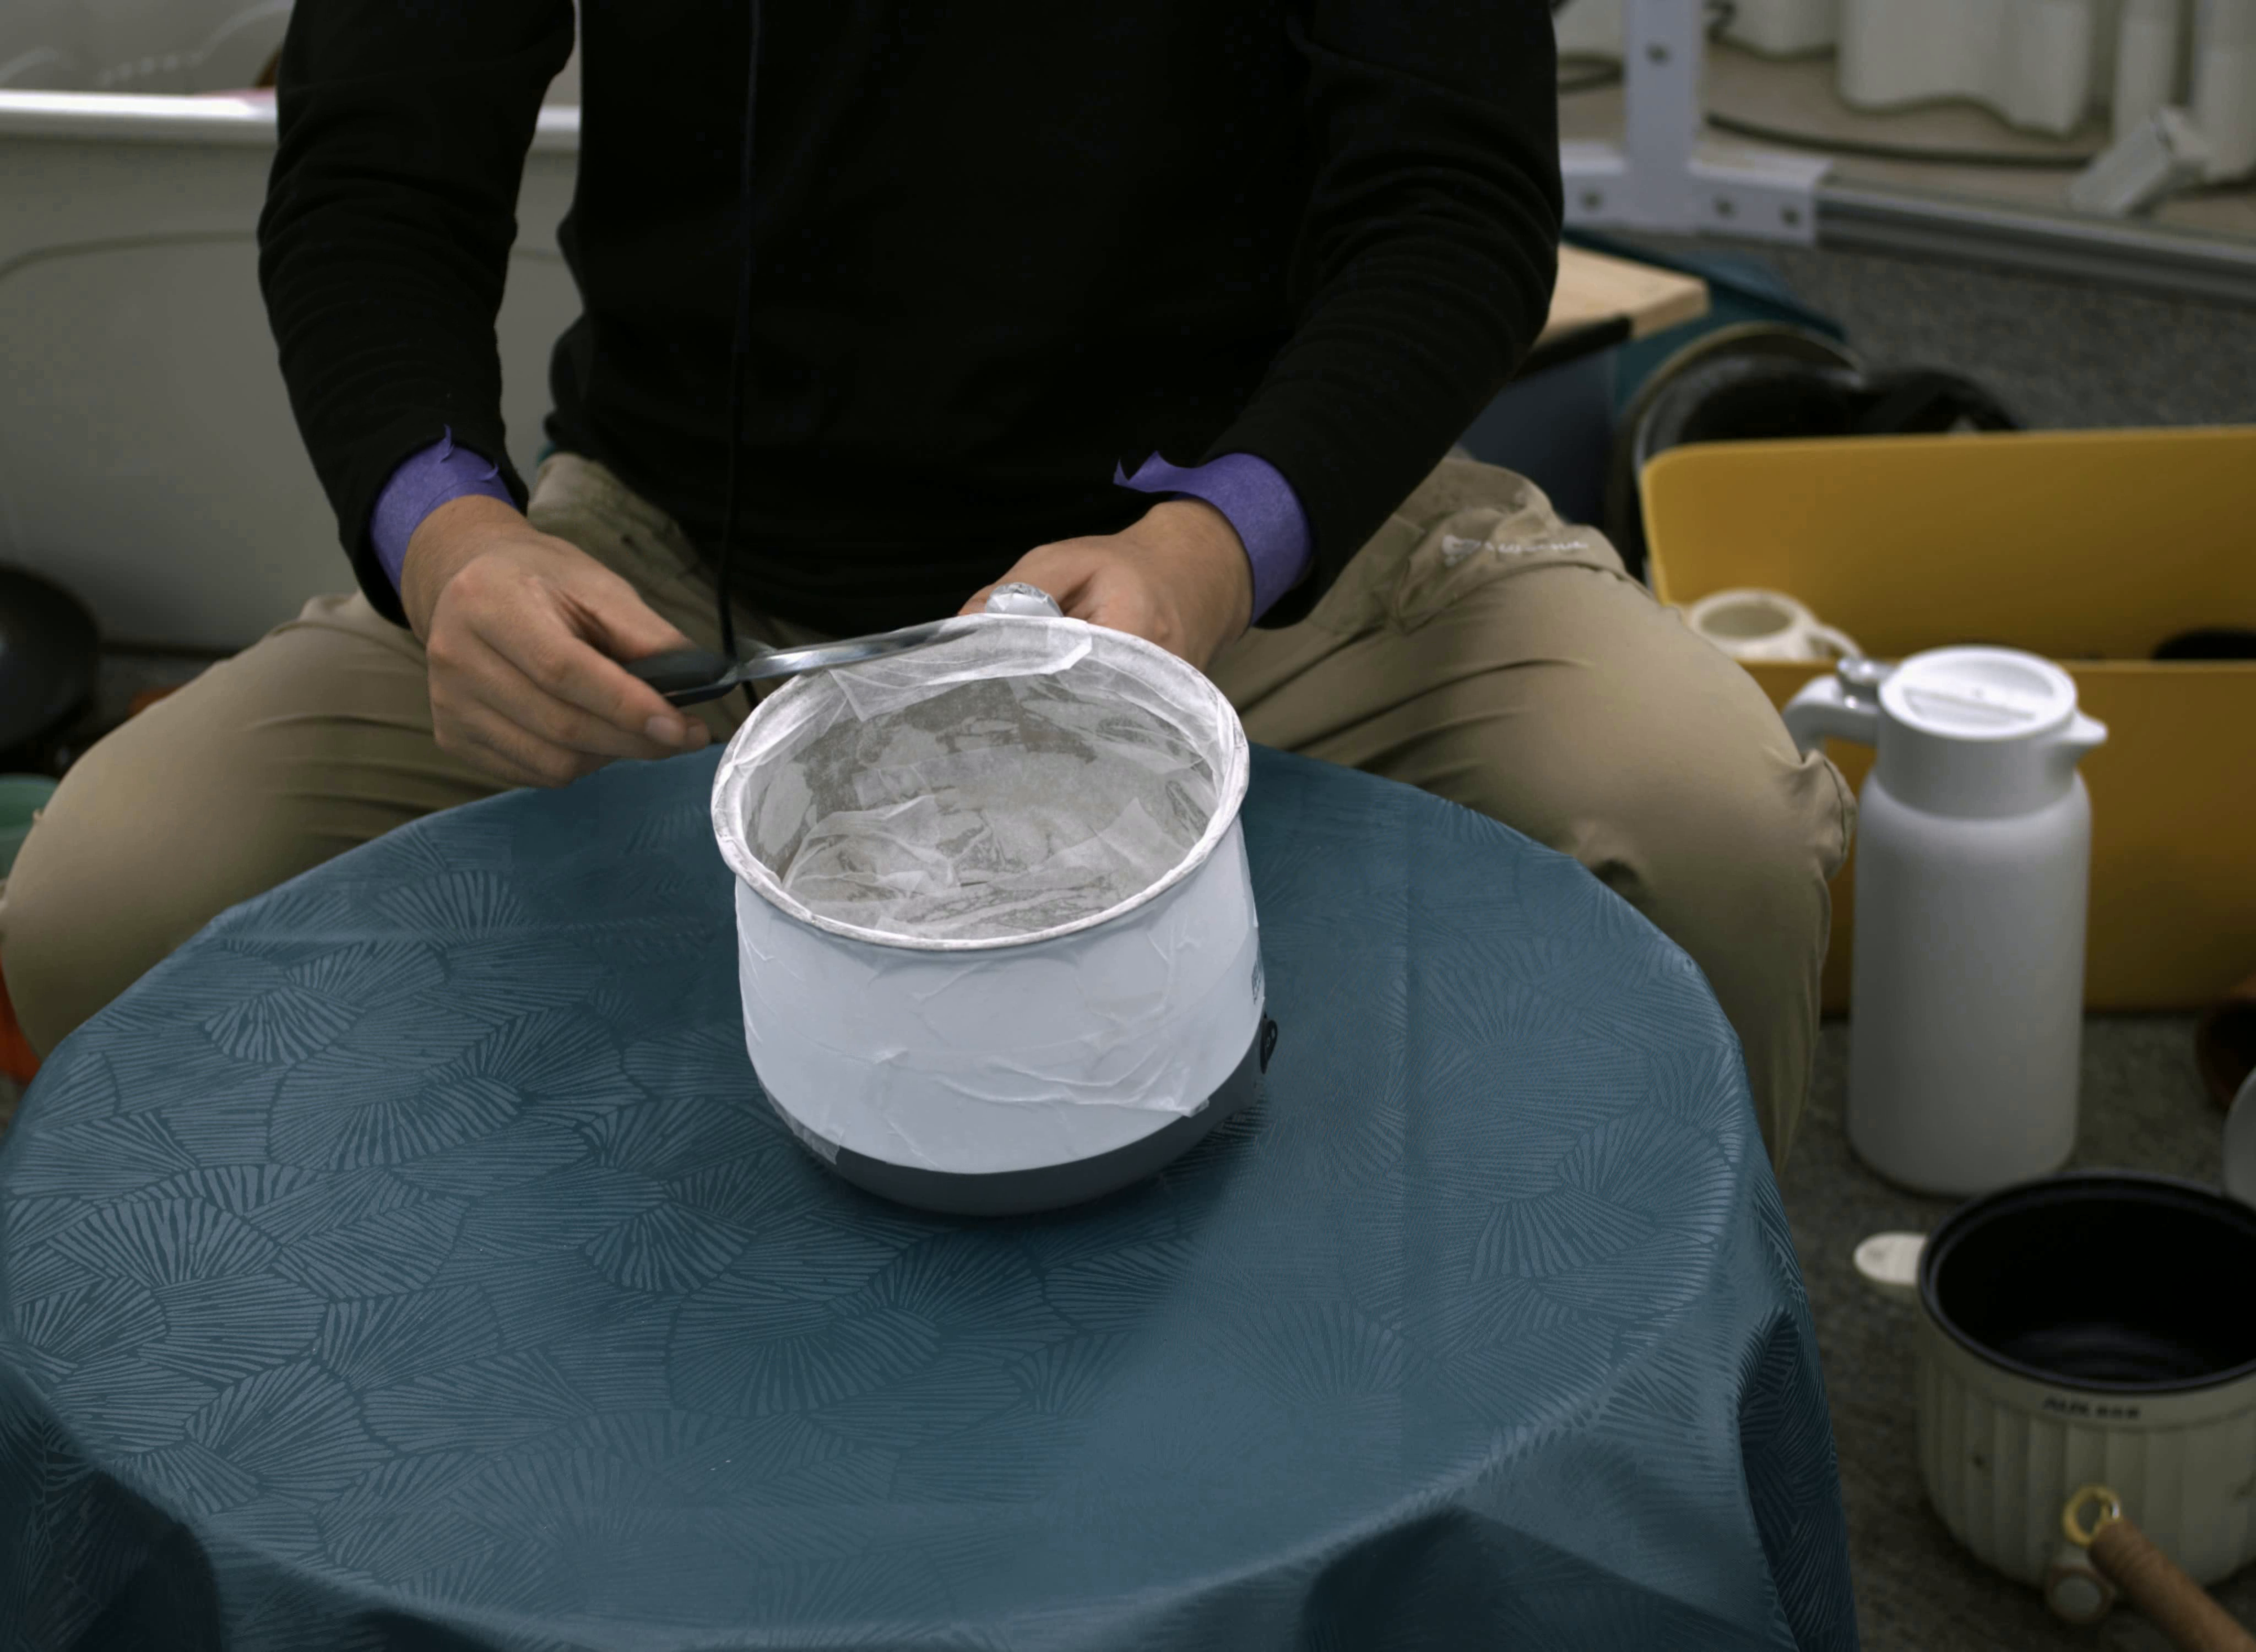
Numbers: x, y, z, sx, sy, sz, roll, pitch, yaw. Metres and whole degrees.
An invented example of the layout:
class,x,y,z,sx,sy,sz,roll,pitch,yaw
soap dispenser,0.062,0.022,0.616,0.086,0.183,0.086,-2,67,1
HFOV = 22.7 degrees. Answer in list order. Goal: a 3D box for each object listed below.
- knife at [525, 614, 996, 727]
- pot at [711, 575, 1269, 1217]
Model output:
class,x,y,z,sx,sy,sz,roll,pitch,yaw
knife,-0.129,-0.054,1.918,0.235,0.016,0.025,-8,24,44
pot,-0.042,0.014,1.891,0.177,0.134,0.238,0,38,6
